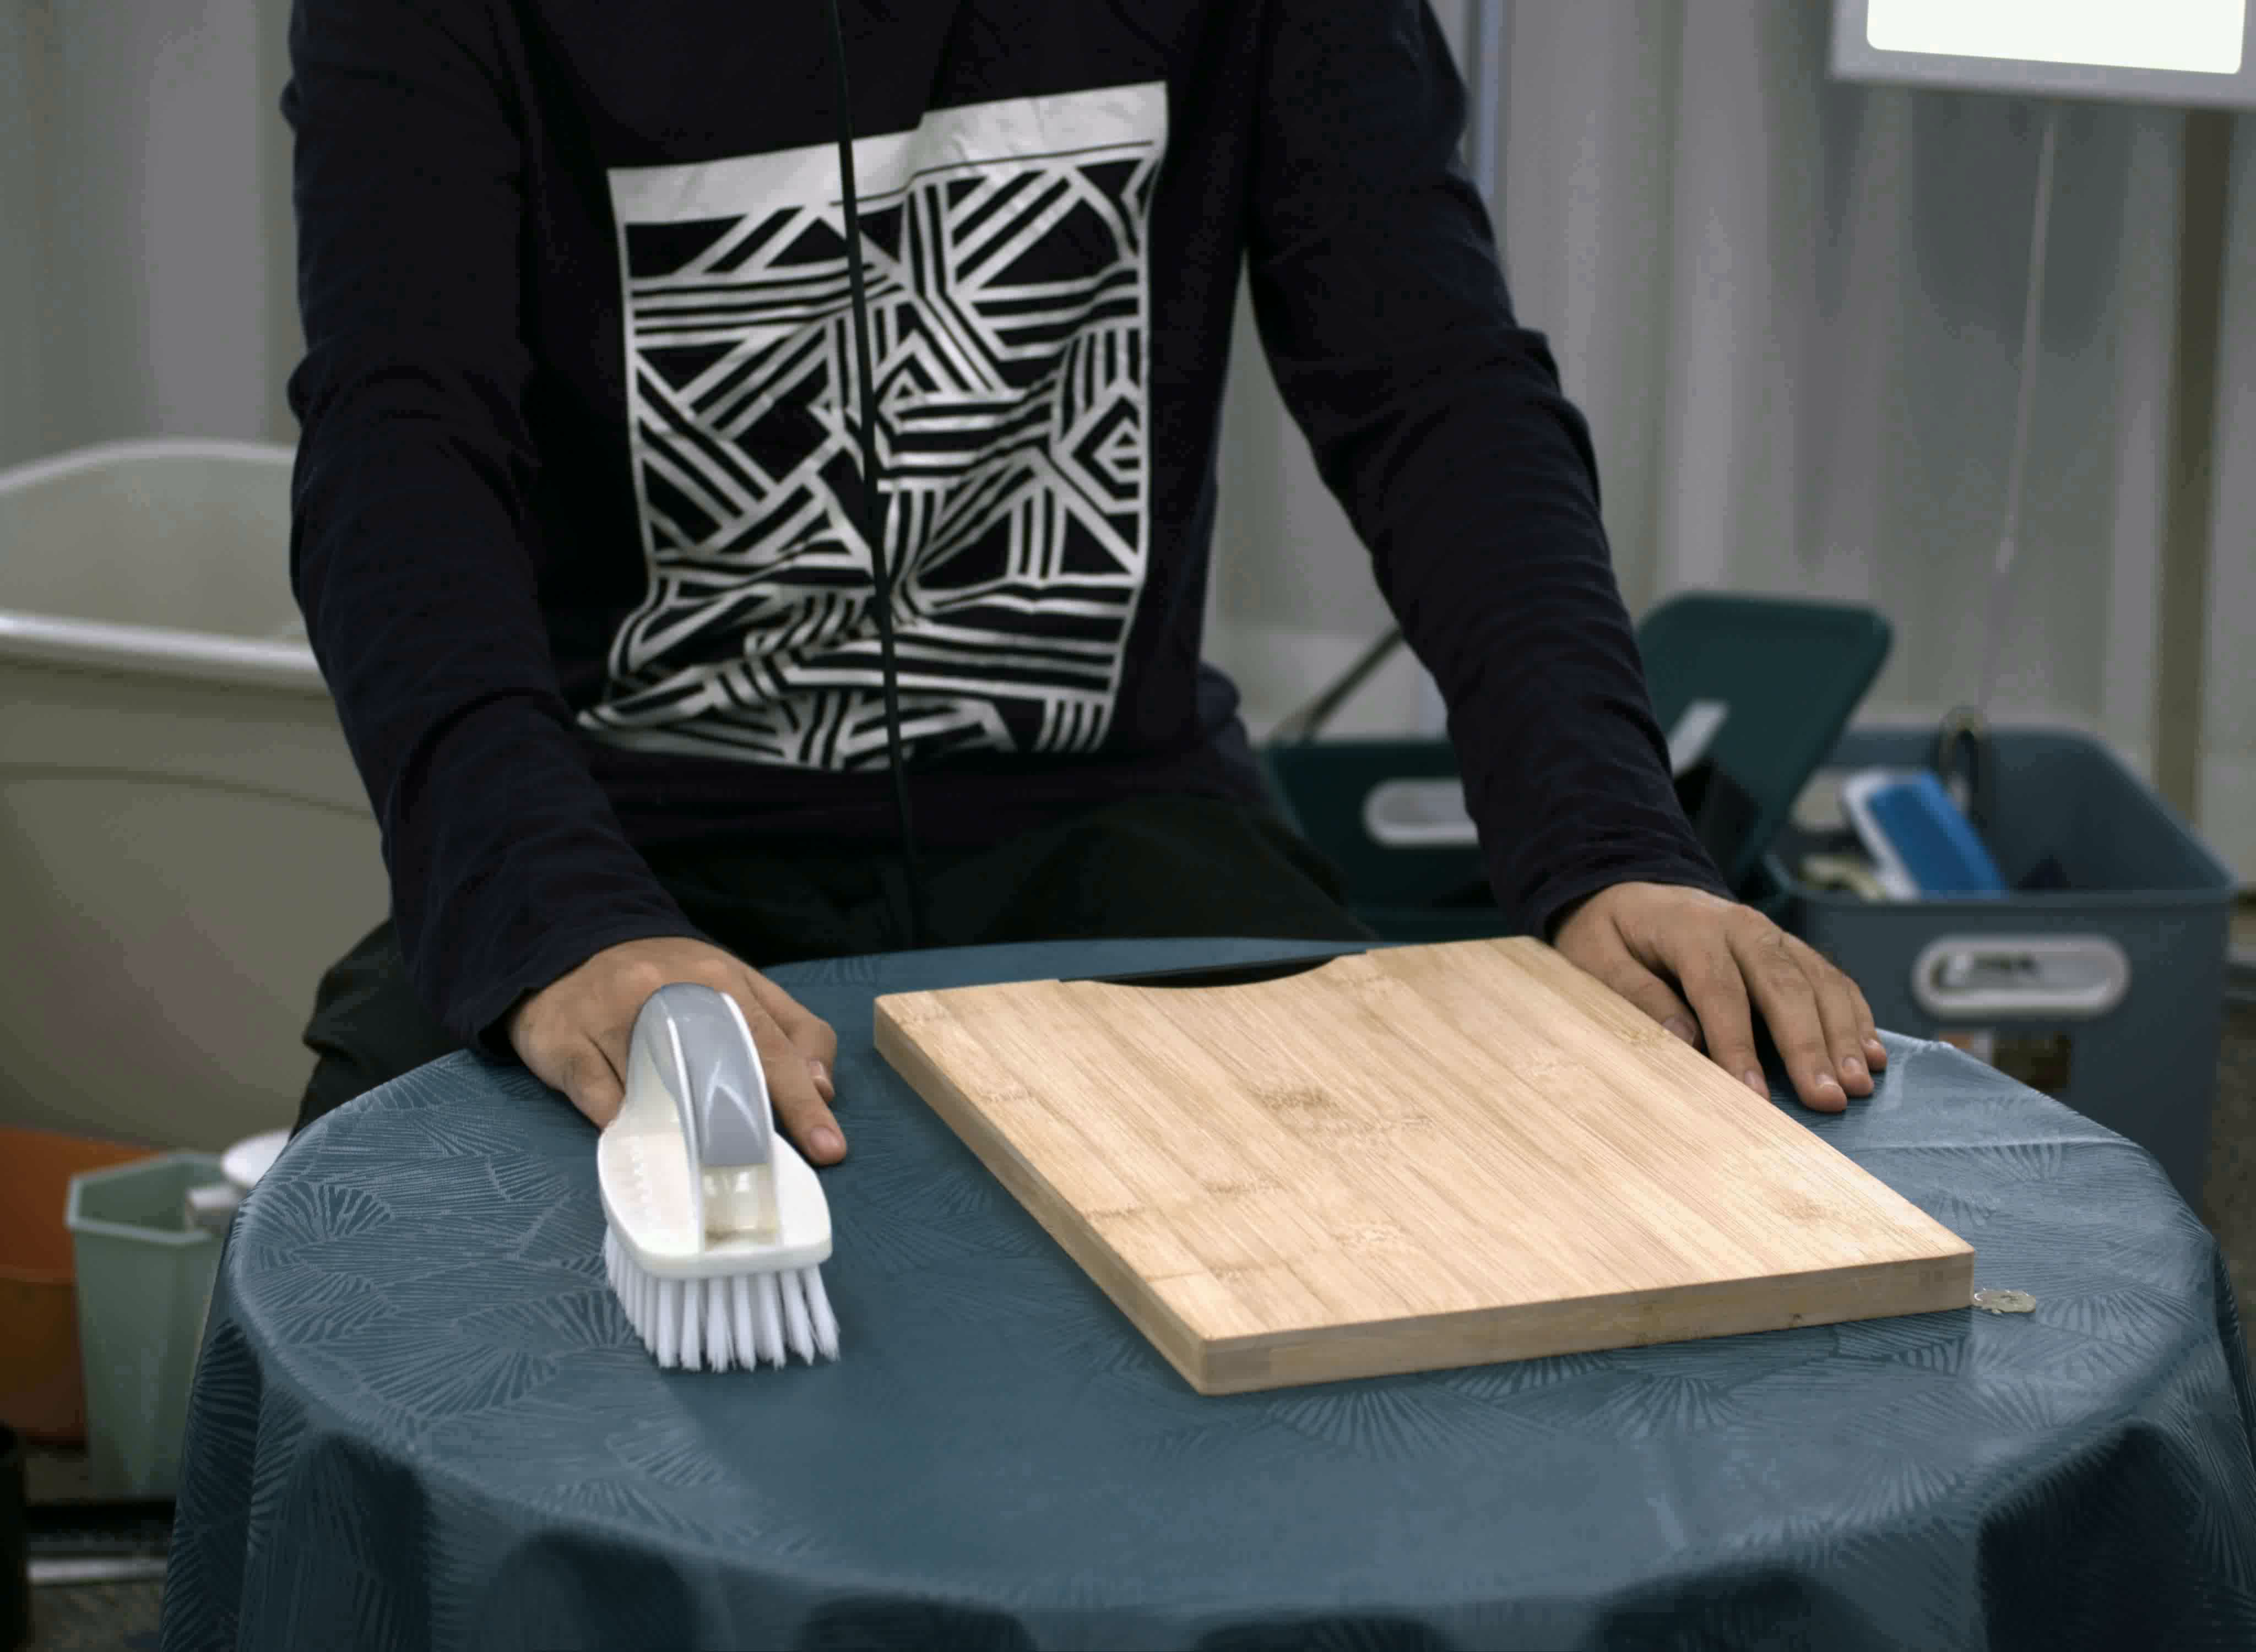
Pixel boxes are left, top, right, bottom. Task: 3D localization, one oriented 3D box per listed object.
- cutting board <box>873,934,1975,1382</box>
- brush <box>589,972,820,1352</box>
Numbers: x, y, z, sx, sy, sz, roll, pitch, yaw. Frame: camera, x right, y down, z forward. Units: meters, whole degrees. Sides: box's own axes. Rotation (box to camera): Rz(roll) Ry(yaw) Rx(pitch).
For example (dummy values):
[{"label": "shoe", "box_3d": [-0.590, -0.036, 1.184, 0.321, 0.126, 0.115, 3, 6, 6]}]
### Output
[{"label": "cutting board", "box_3d": [0.080, 0.098, 1.652, 0.251, 0.024, 0.345, -4, 16, -19]}, {"label": "brush", "box_3d": [-0.129, 0.087, 1.538, 0.061, 0.095, 0.174, -2, 13, -13]}]
